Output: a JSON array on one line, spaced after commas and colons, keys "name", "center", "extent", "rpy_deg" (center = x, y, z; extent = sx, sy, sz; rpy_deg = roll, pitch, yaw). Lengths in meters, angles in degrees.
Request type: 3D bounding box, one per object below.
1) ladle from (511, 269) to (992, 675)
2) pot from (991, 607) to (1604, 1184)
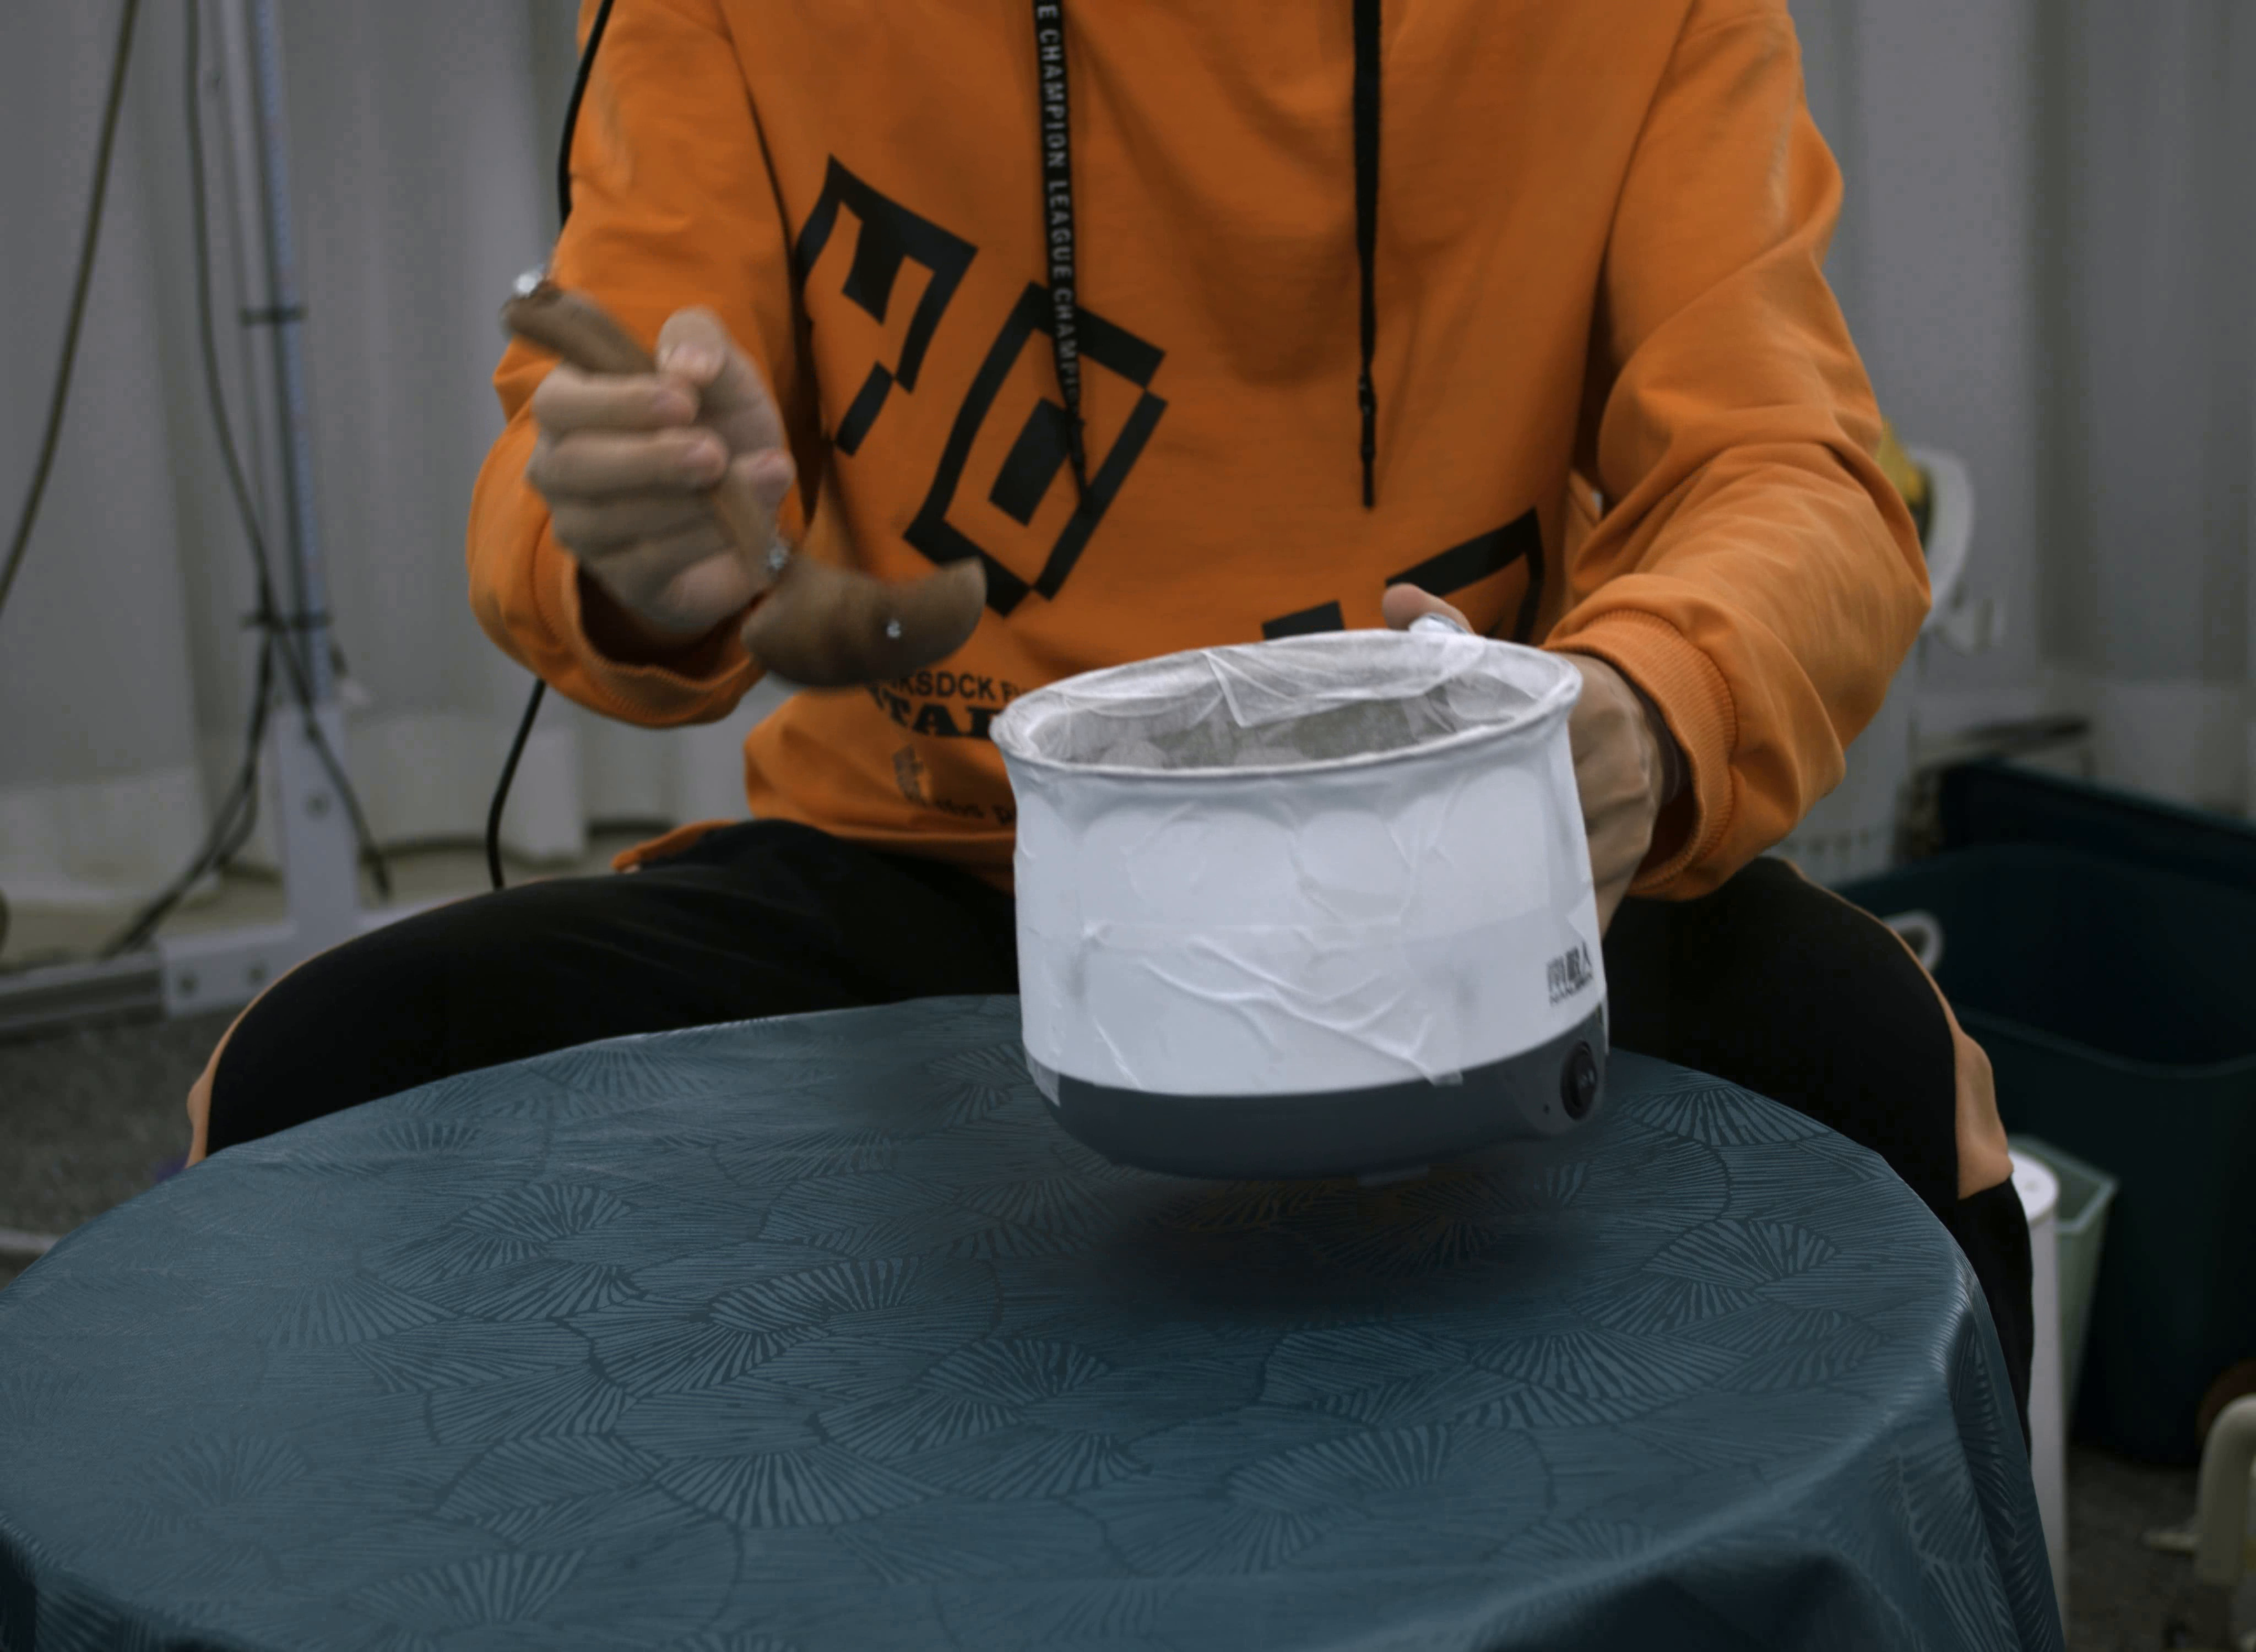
[{"name": "ladle", "center": [-0.126, -0.124, 1.704], "extent": [0.076, 0.064, 0.264], "rpy_deg": [-10, 41, -30]}, {"name": "pot", "center": [0.065, 0.016, 1.666], "extent": [0.179, 0.136, 0.234], "rpy_deg": [2, 15, 28]}]
